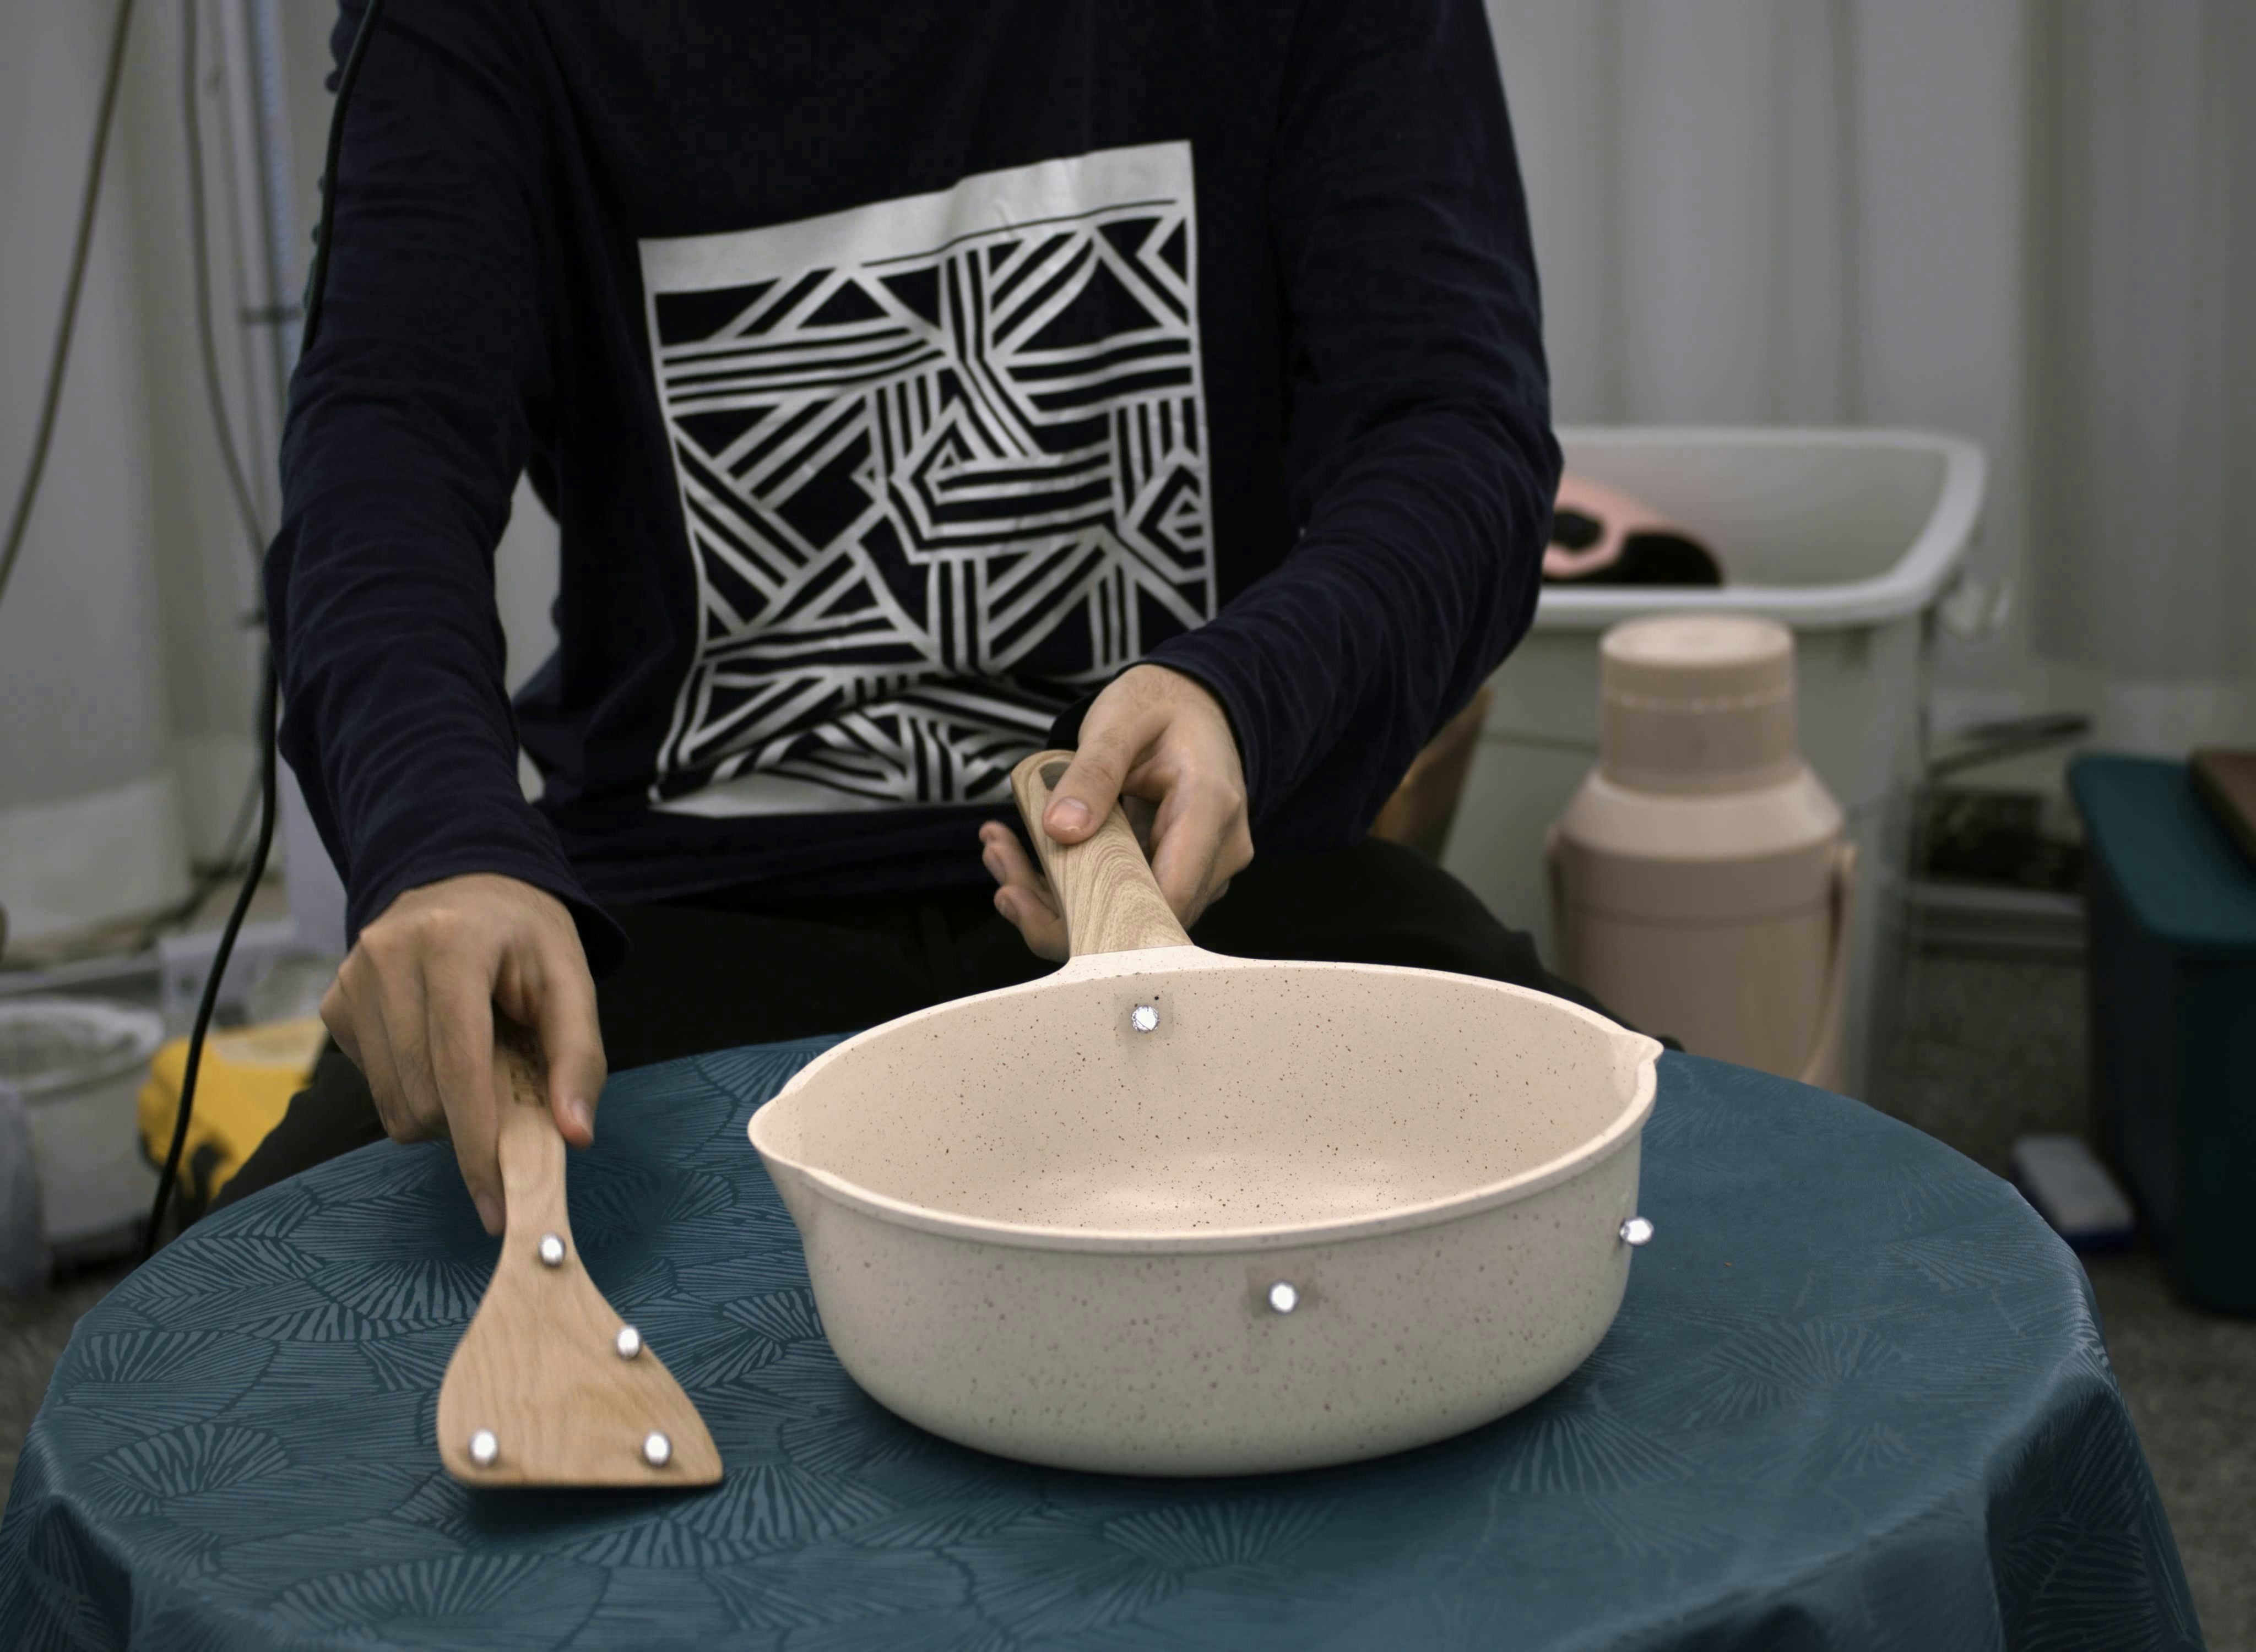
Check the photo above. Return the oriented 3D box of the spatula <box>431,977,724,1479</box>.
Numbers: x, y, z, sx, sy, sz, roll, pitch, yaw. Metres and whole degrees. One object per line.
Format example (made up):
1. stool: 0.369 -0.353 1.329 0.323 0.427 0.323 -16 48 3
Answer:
1. spatula: -0.173 0.115 1.614 0.079 0.016 0.331 6 23 -13

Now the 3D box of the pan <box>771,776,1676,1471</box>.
1. pan: 0.015 0.083 1.647 0.262 0.101 0.438 -6 15 -8
